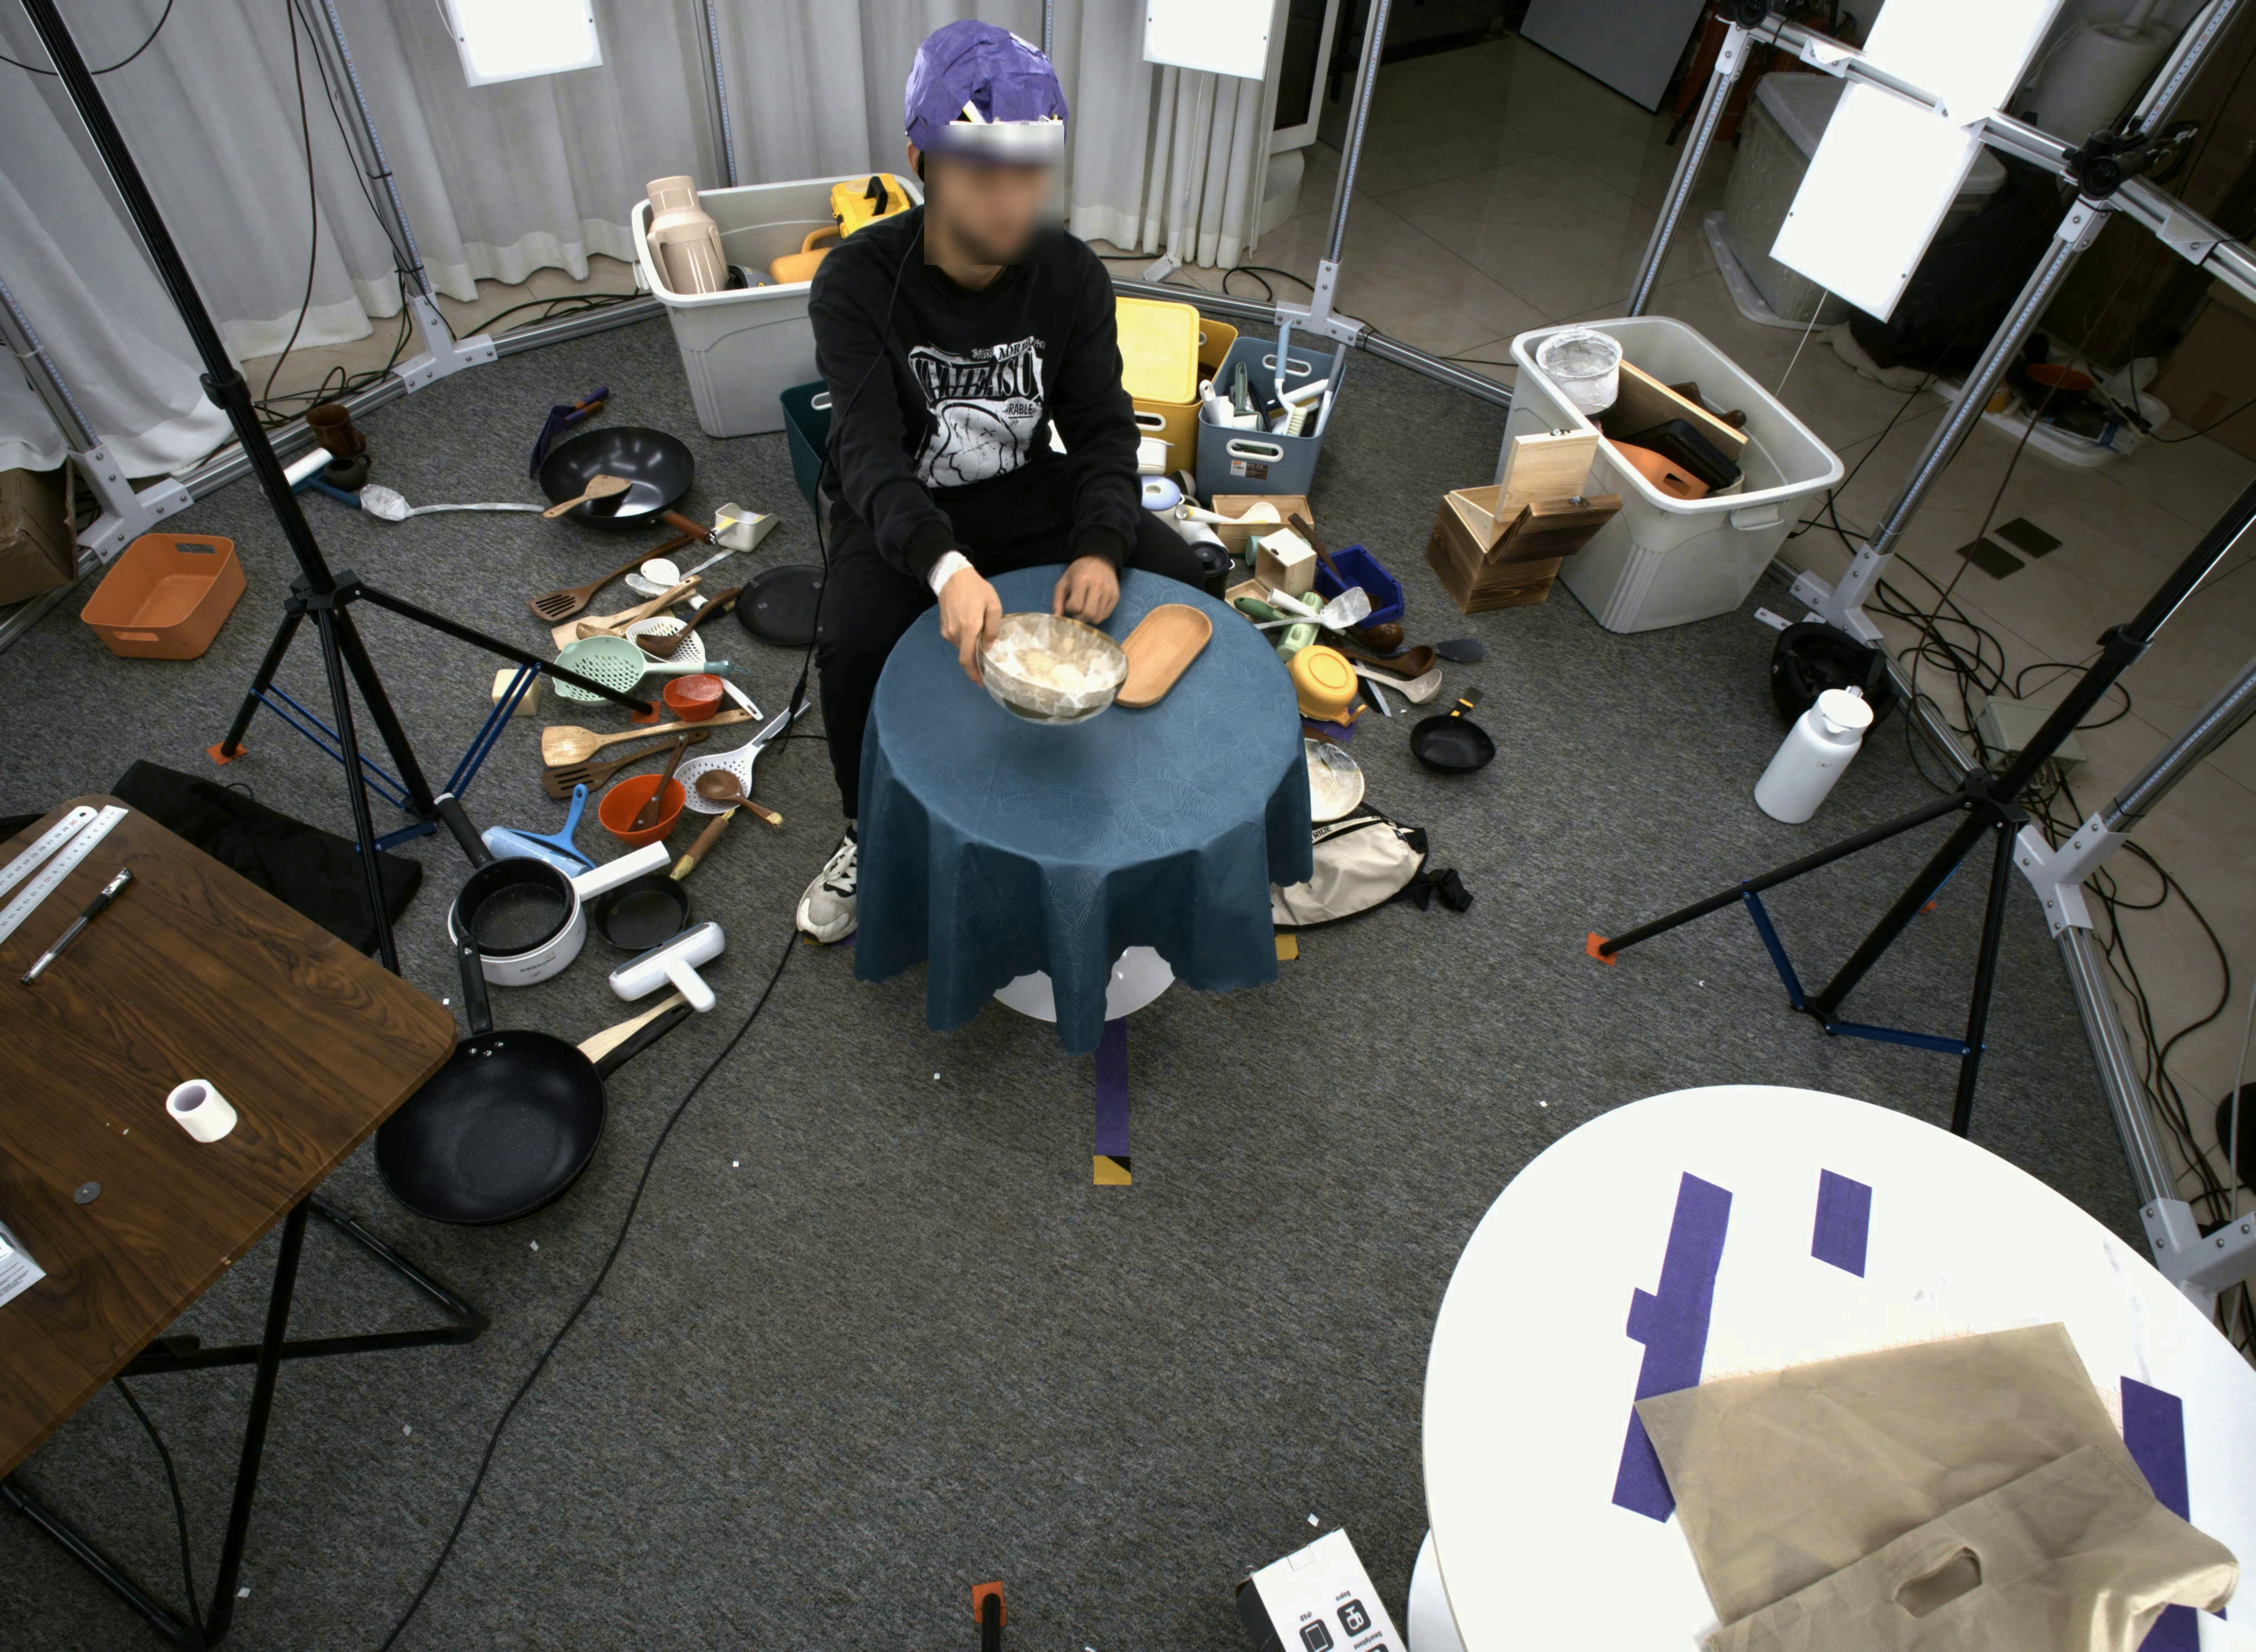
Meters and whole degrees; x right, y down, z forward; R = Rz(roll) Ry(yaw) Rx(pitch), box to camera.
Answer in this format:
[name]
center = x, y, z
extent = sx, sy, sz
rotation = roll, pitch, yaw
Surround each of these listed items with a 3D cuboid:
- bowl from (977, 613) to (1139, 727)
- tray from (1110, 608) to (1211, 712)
[bowl]
center = -0.100, -0.193, 1.687
extent = 0.214, 0.092, 0.219
rotation = 9, 33, -6
[tray]
center = 0.042, -0.247, 1.892
extent = 0.102, 0.020, 0.235
rotation = 23, 53, 18
